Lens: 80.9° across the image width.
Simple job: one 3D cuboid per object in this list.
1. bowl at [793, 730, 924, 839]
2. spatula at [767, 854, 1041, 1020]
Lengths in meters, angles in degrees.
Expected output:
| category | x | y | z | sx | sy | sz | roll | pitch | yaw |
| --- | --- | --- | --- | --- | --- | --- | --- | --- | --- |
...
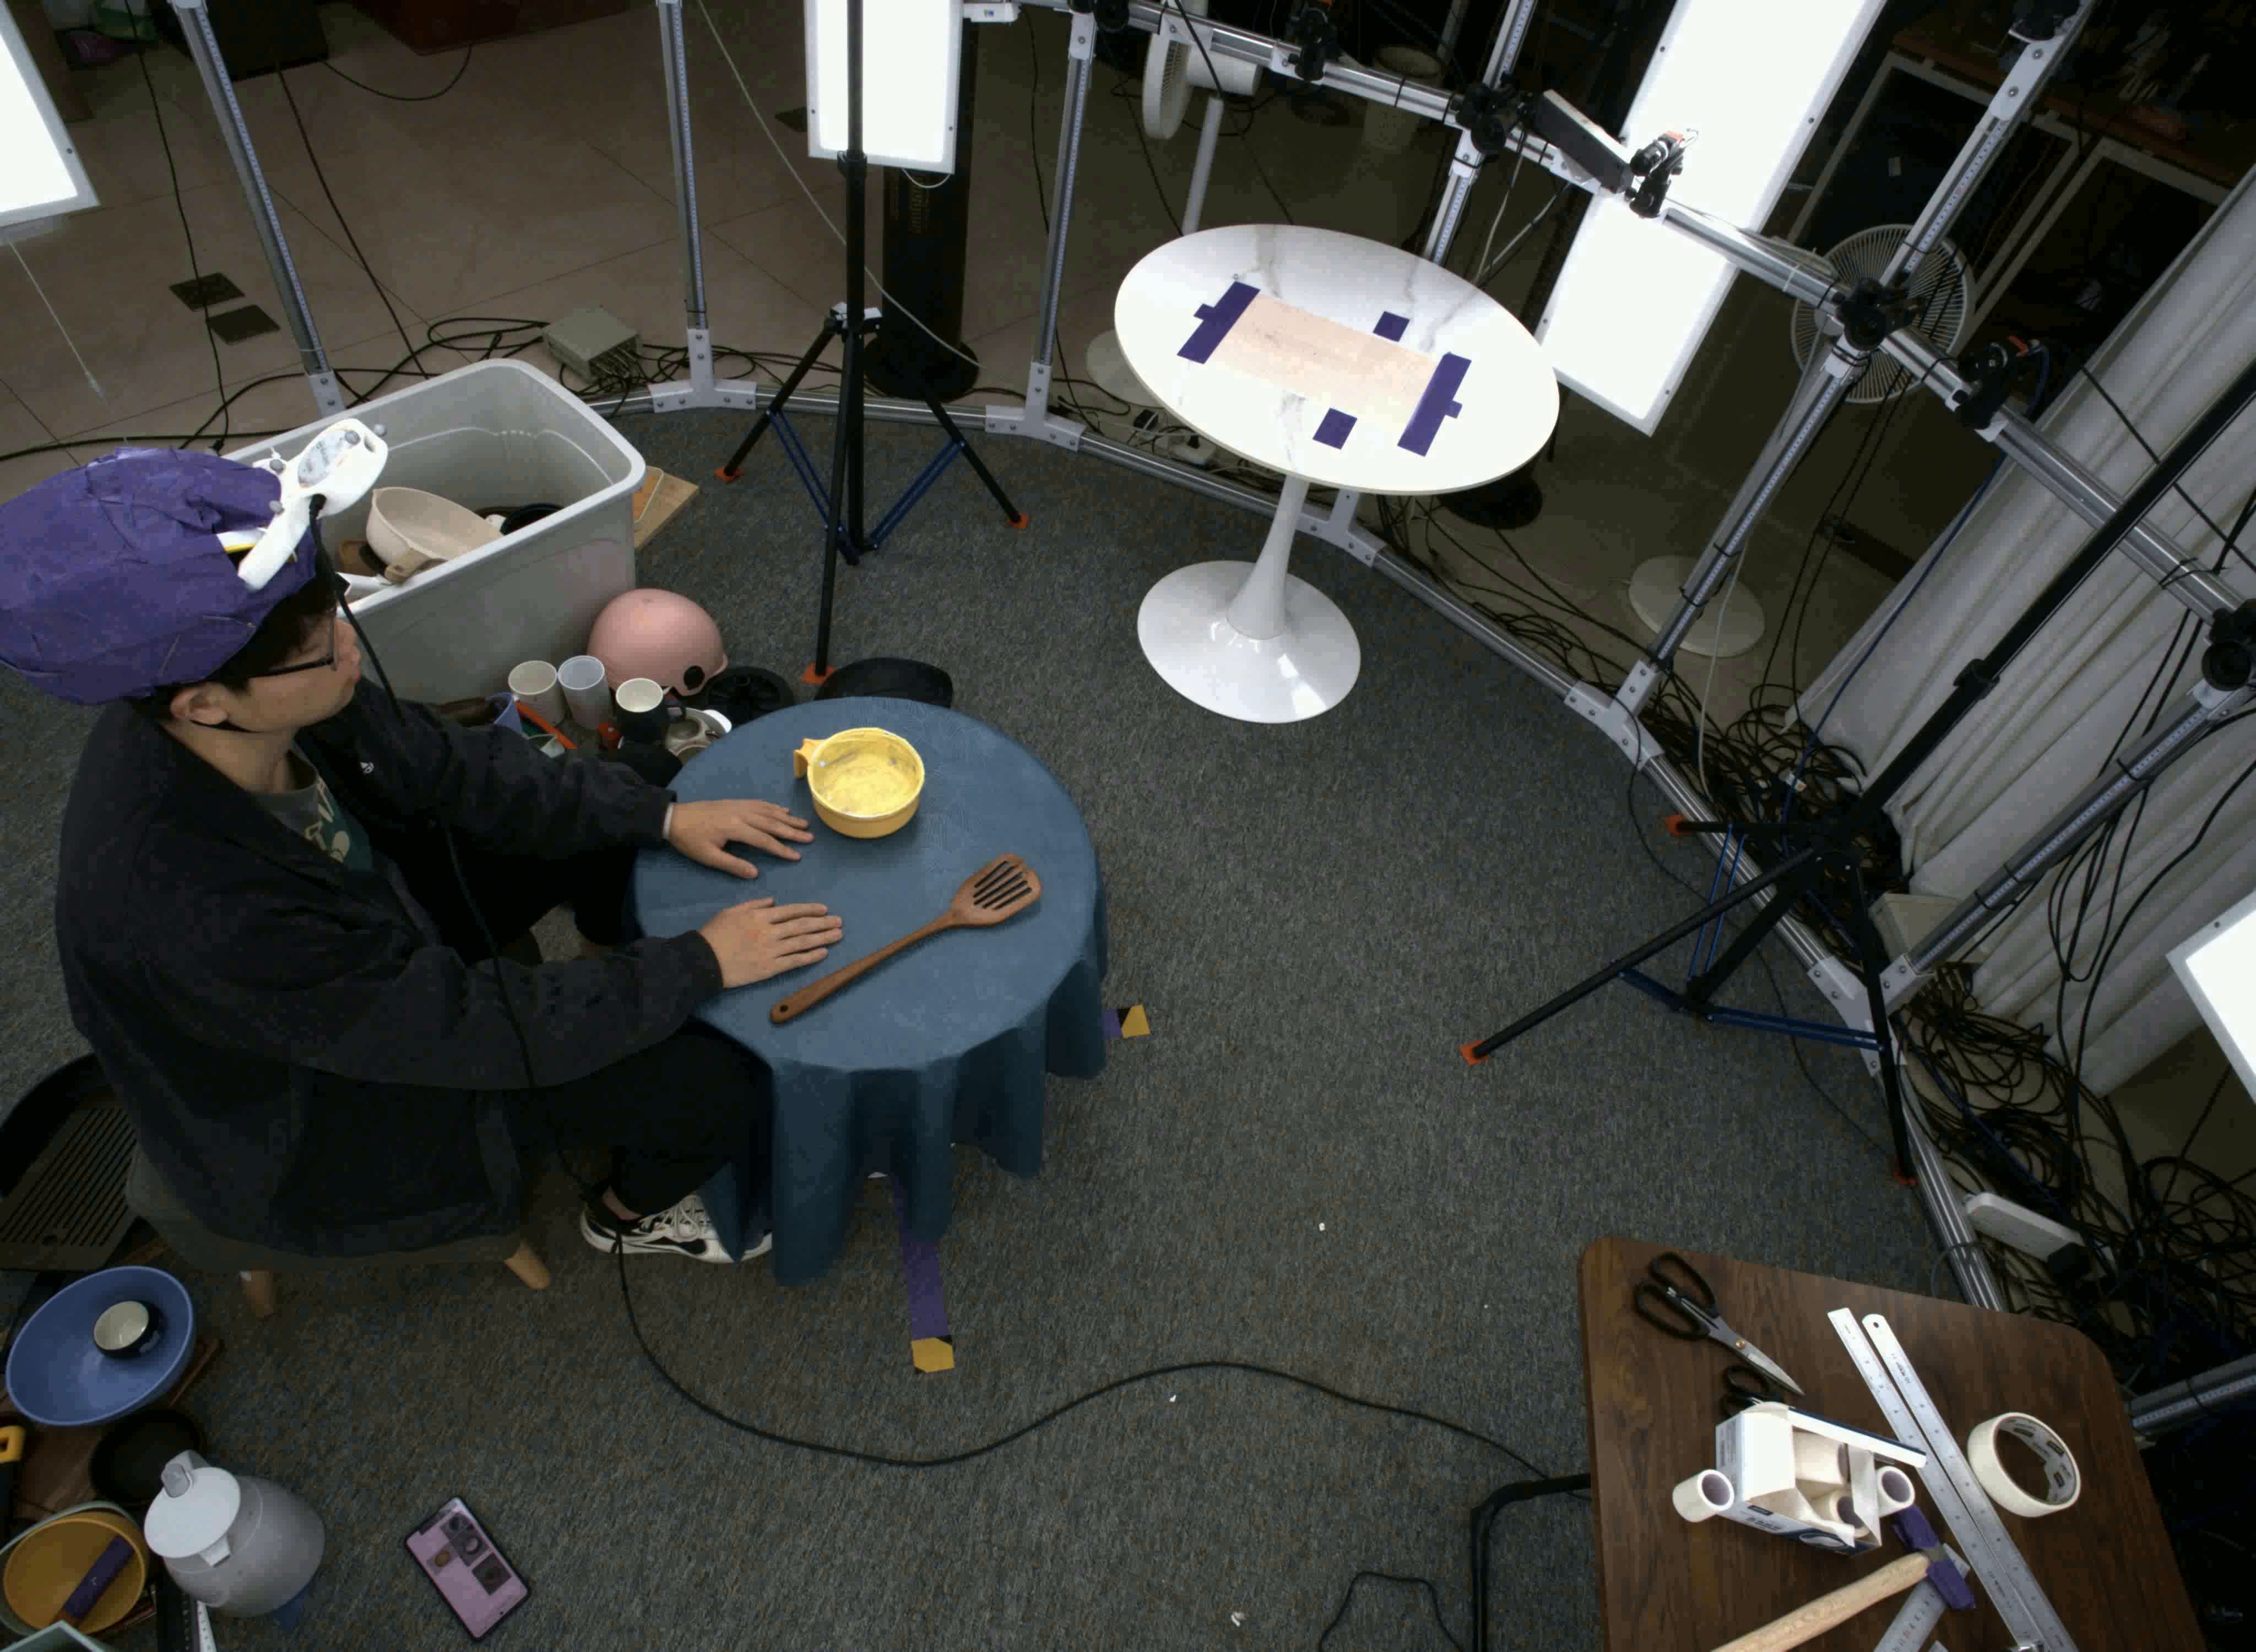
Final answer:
| category | x | y | z | sx | sy | sz | roll | pitch | yaw |
| --- | --- | --- | --- | --- | --- | --- | --- | --- | --- |
| bowl | -0.364 | -0.058 | 1.742 | 0.177 | 0.076 | 0.151 | 20 | 52 | 2 |
| spatula | -0.280 | 0.144 | 1.641 | 0.388 | 0.024 | 0.083 | -28 | 64 | -28 |
